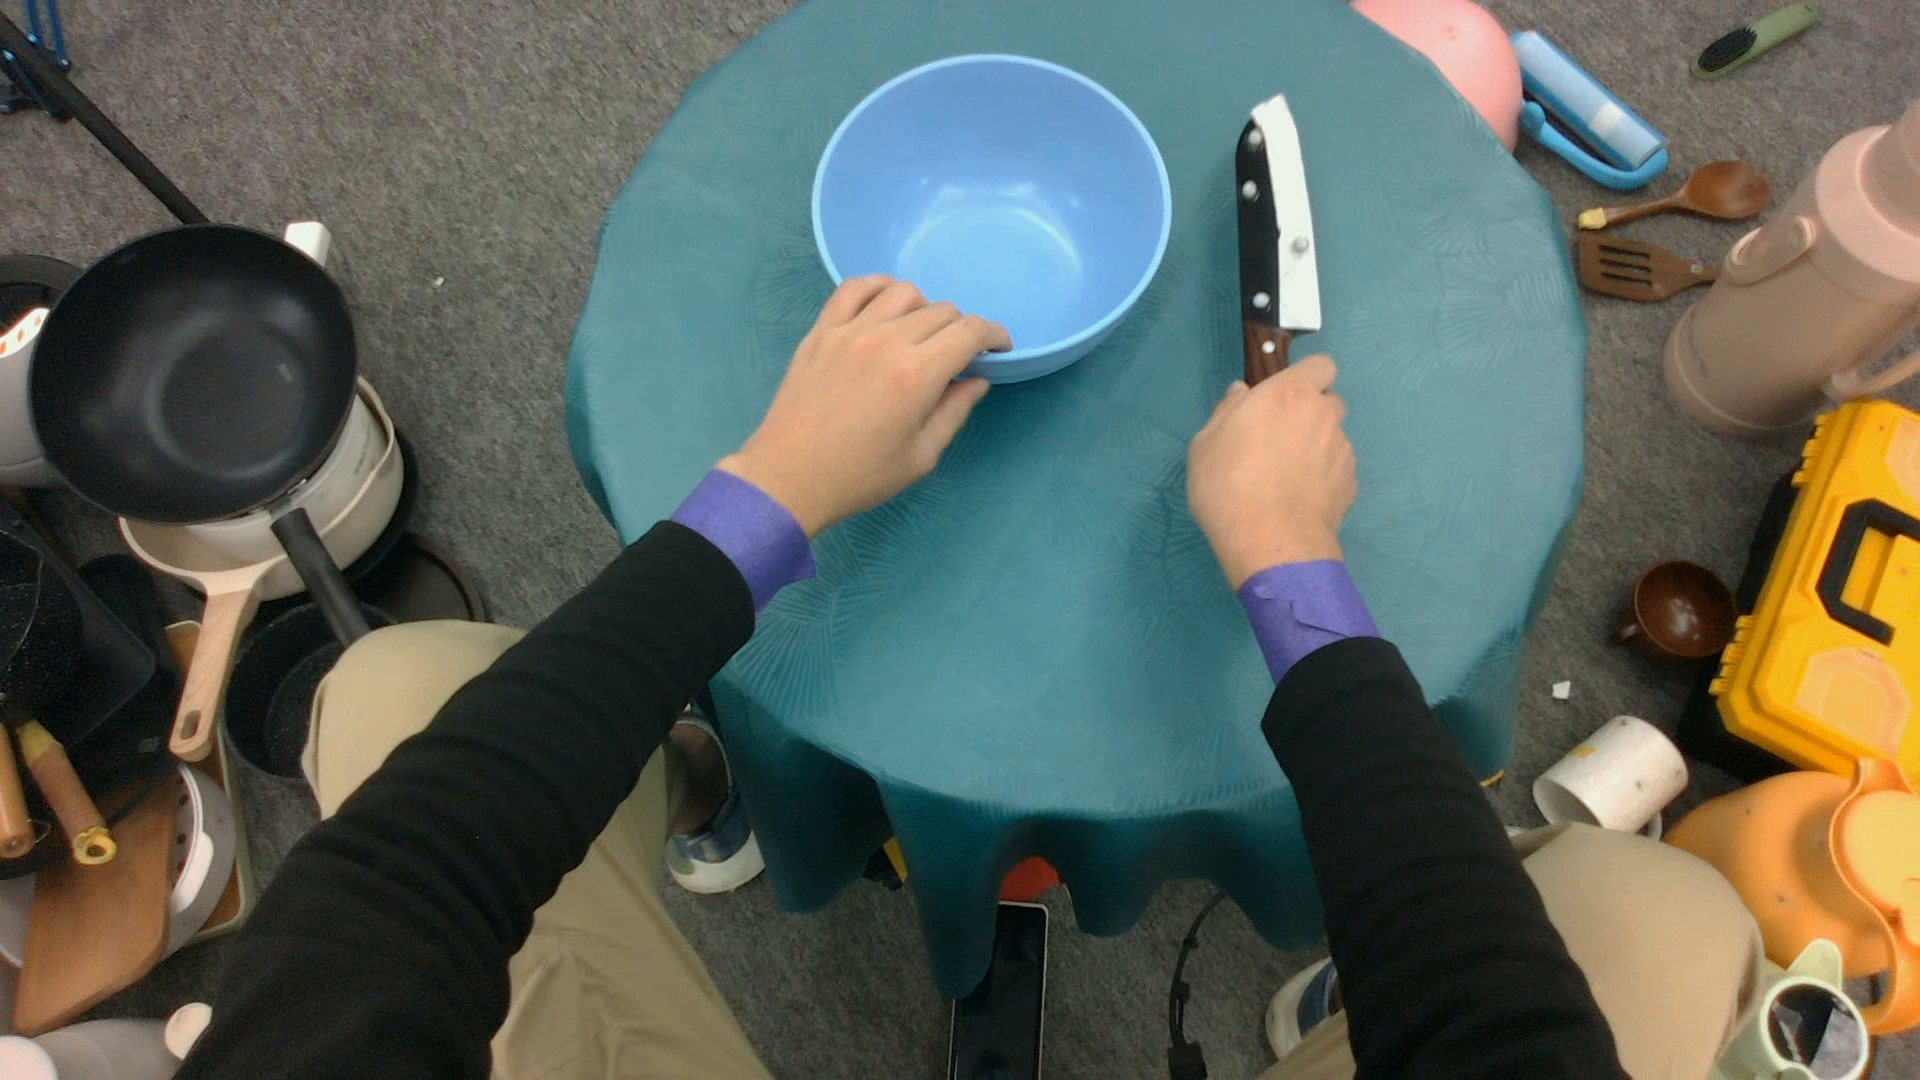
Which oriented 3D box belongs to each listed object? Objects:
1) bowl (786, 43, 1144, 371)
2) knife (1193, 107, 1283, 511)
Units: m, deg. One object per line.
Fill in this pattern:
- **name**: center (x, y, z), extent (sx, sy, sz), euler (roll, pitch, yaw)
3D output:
- **bowl**: center (0.002, -0.176, 0.797), extent (0.196, 0.095, 0.197), euler (0, 70, -1)
- **knife**: center (0.163, -0.145, 0.801), extent (0.050, 0.020, 0.290), euler (4, 62, 0)
